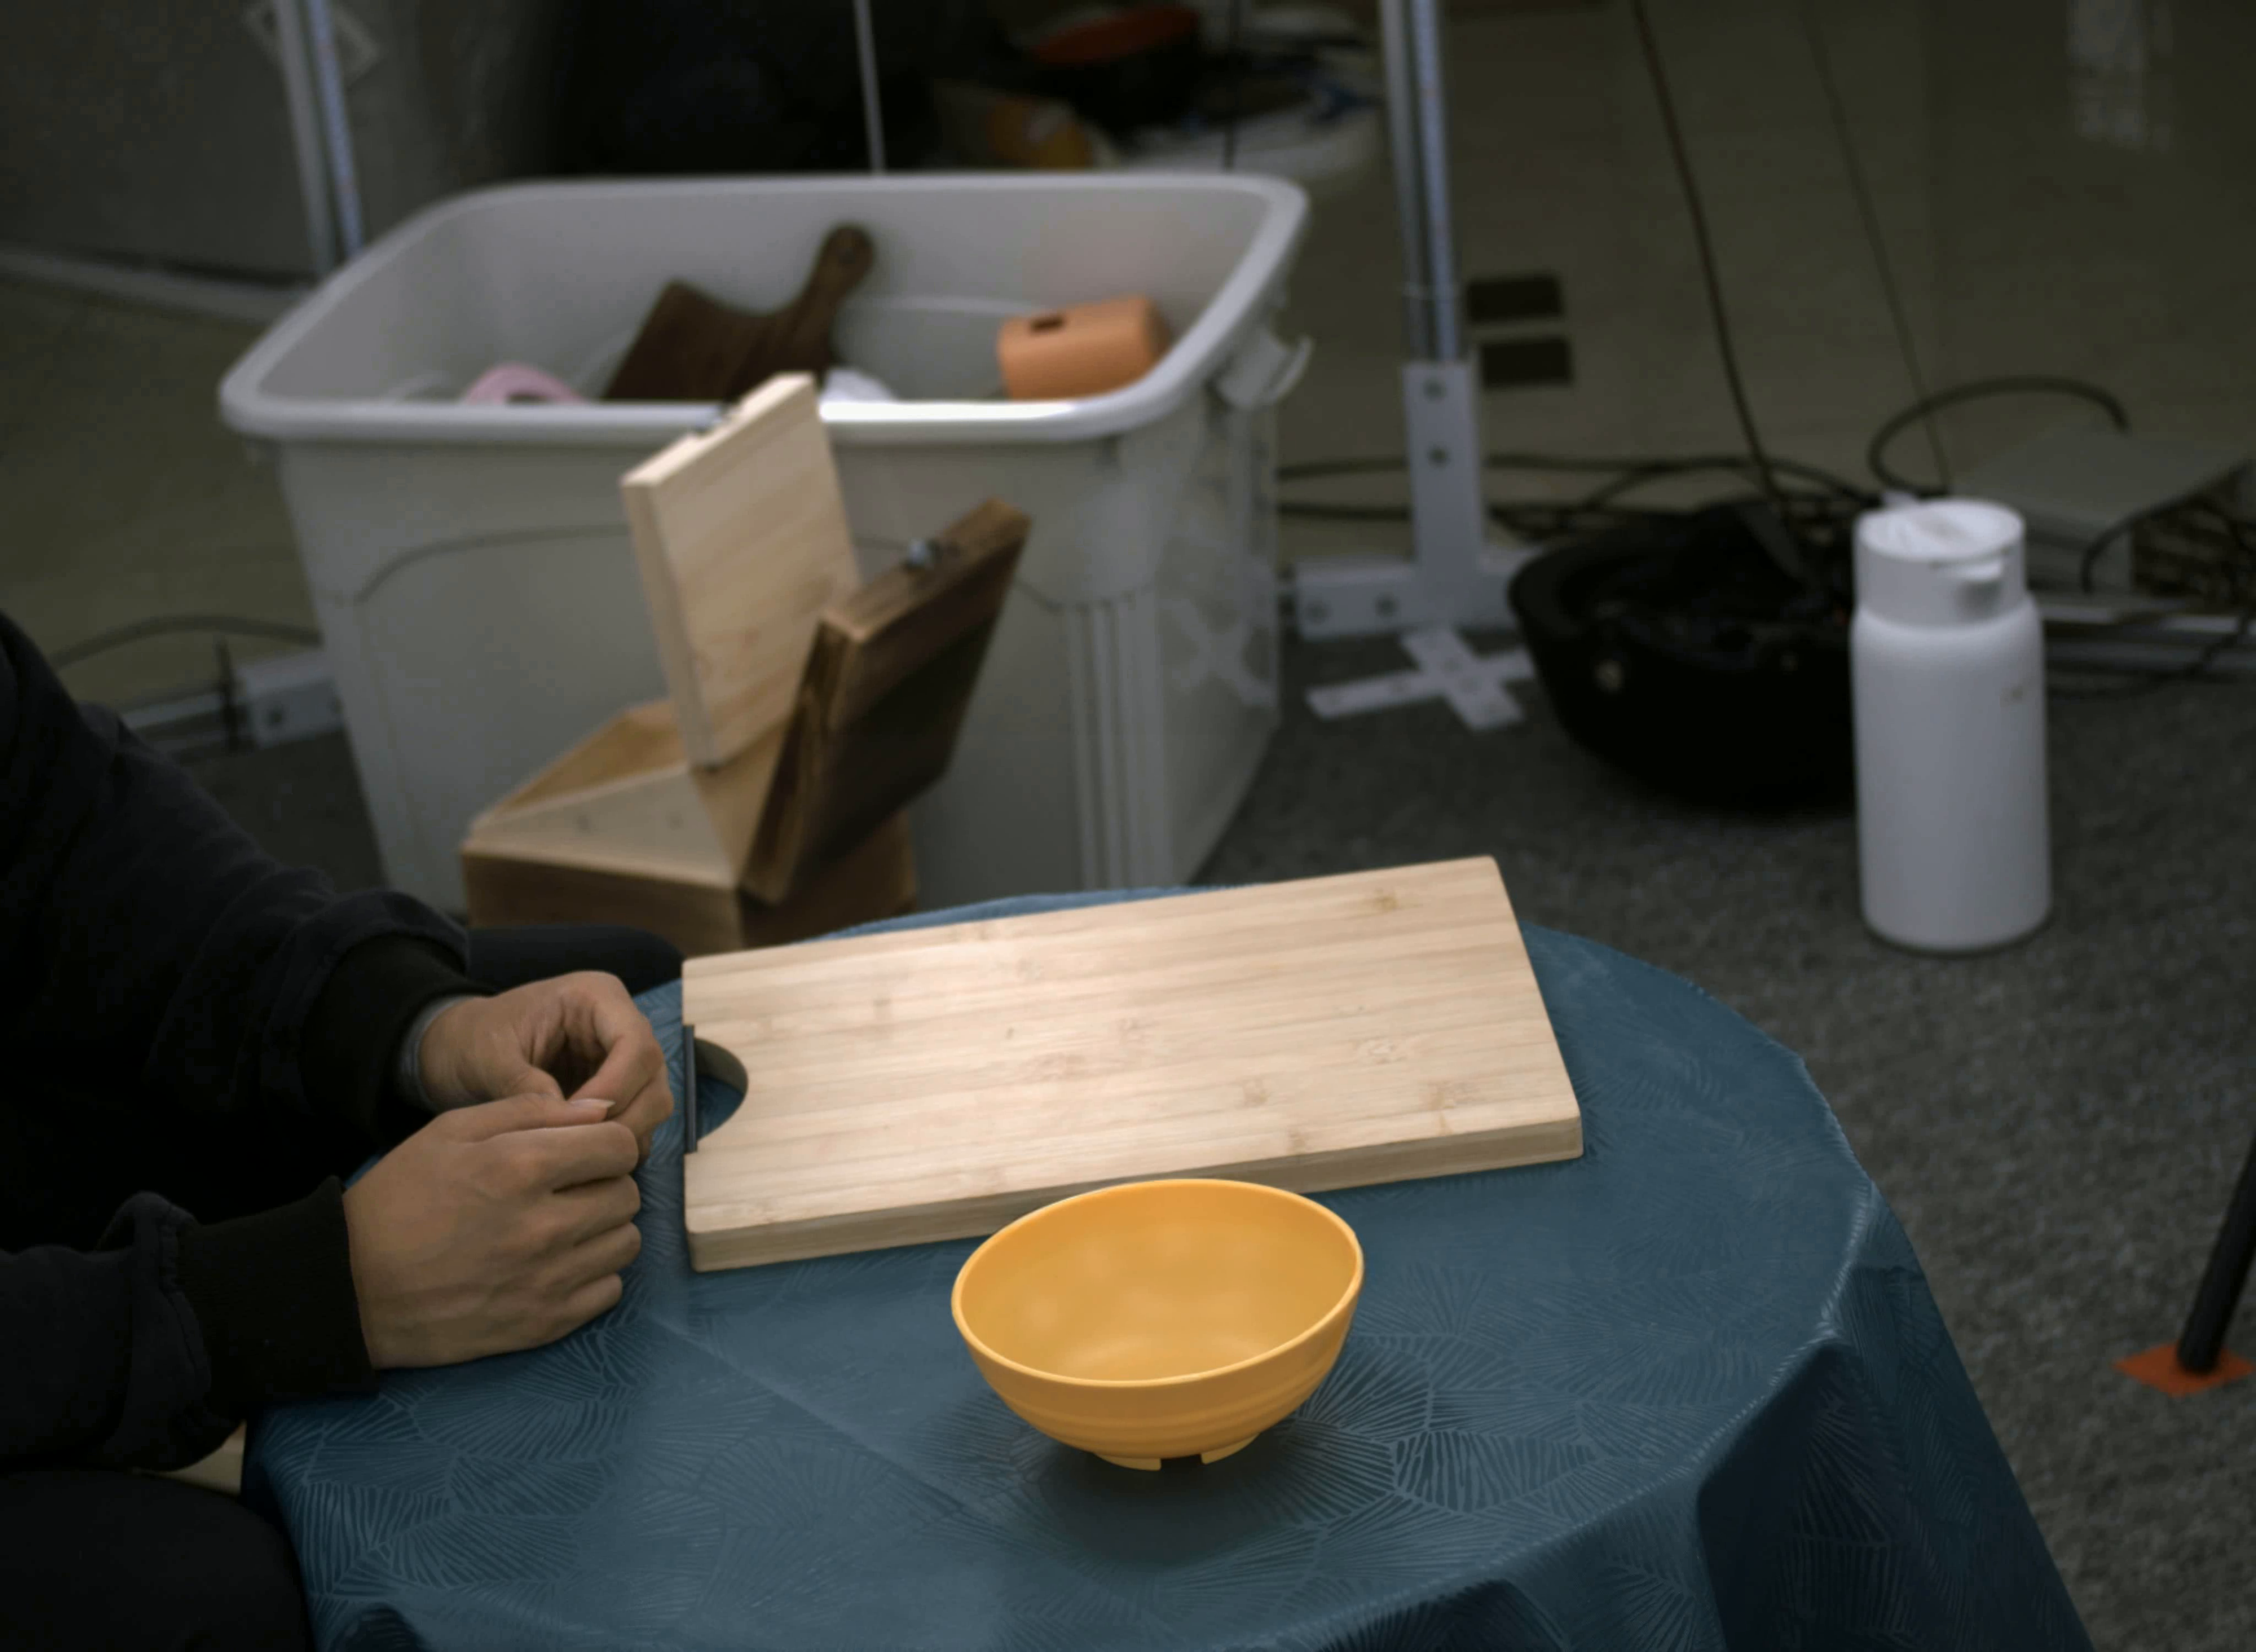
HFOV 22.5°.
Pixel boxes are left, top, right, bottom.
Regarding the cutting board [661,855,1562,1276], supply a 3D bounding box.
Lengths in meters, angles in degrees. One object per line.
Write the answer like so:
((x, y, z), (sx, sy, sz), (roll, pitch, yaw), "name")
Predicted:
((-0.012, 0.092, 2.239), (0.348, 0.024, 0.247), (-8, 25, -2), "cutting board")

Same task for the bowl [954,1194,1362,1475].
((0.014, 0.185, 1.983), (0.145, 0.061, 0.143), (-6, 22, 3), "bowl")
